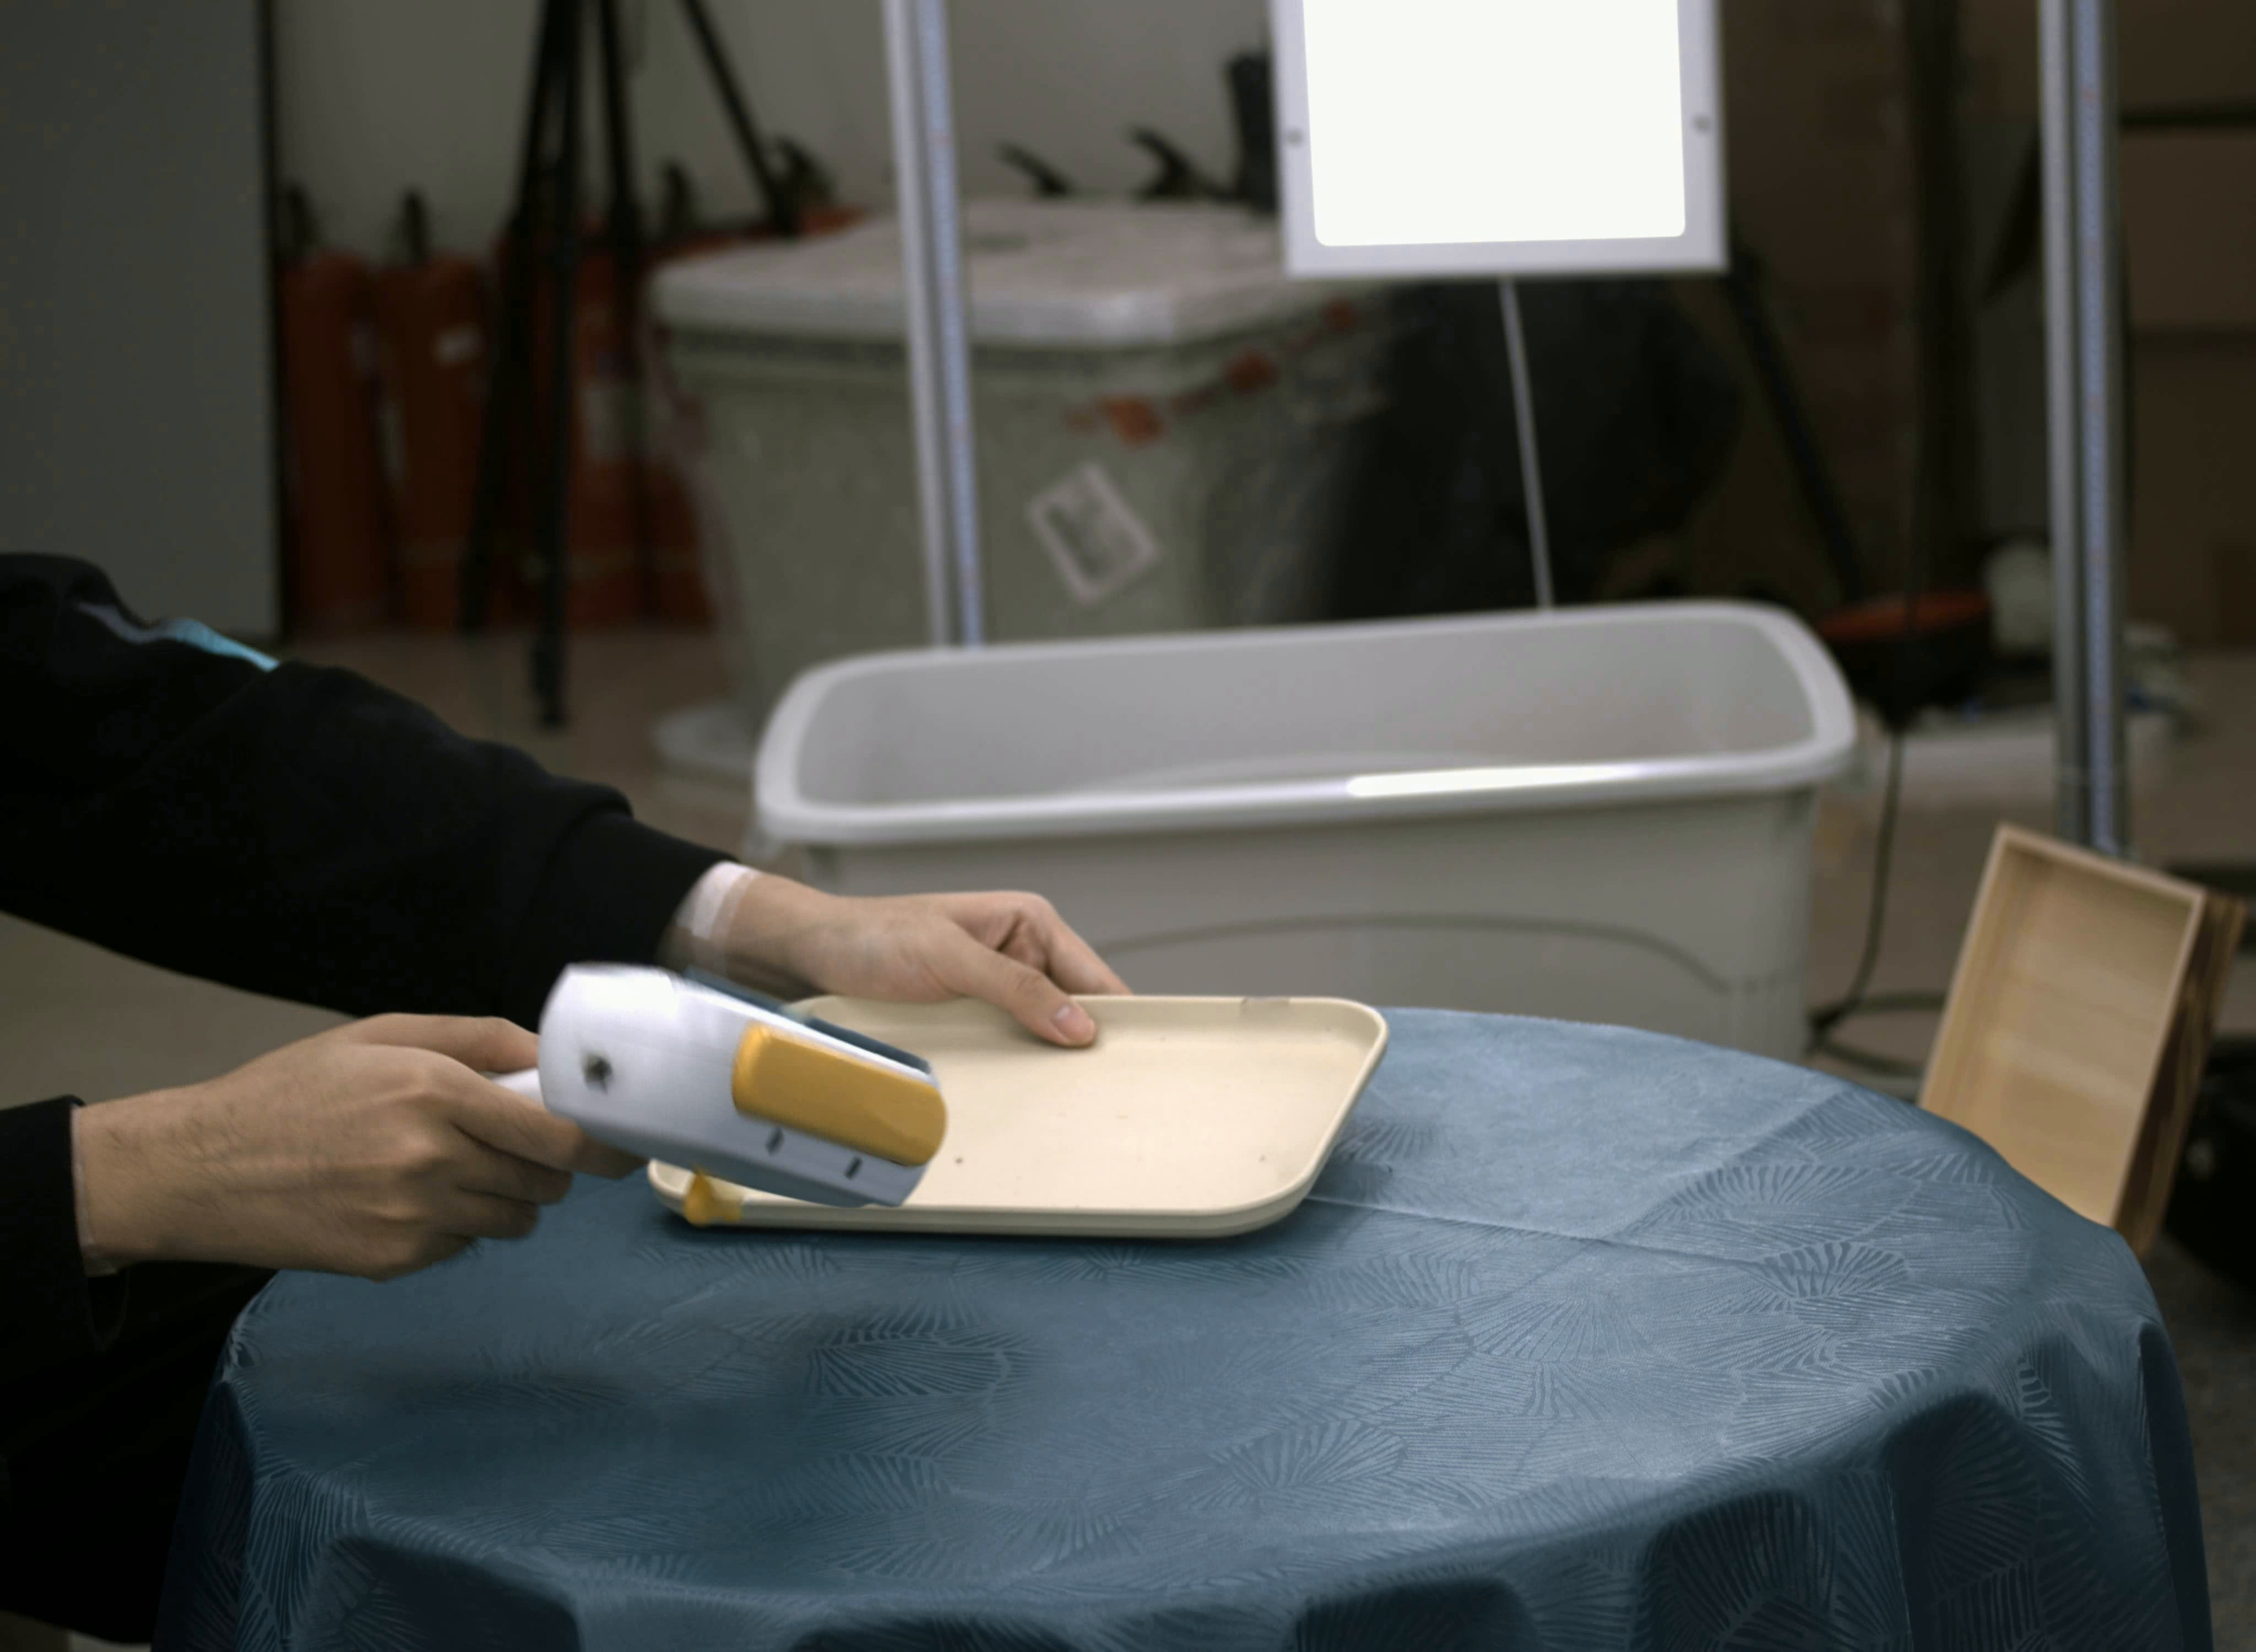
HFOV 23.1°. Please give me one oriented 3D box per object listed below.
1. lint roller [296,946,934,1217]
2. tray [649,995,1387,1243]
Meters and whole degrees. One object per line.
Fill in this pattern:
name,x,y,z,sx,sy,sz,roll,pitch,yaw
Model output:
lint roller,-0.178,0.087,1.745,0.196,0.074,0.189,-1,-10,28
tray,-0.036,0.102,1.926,0.243,0.017,0.168,0,24,19
